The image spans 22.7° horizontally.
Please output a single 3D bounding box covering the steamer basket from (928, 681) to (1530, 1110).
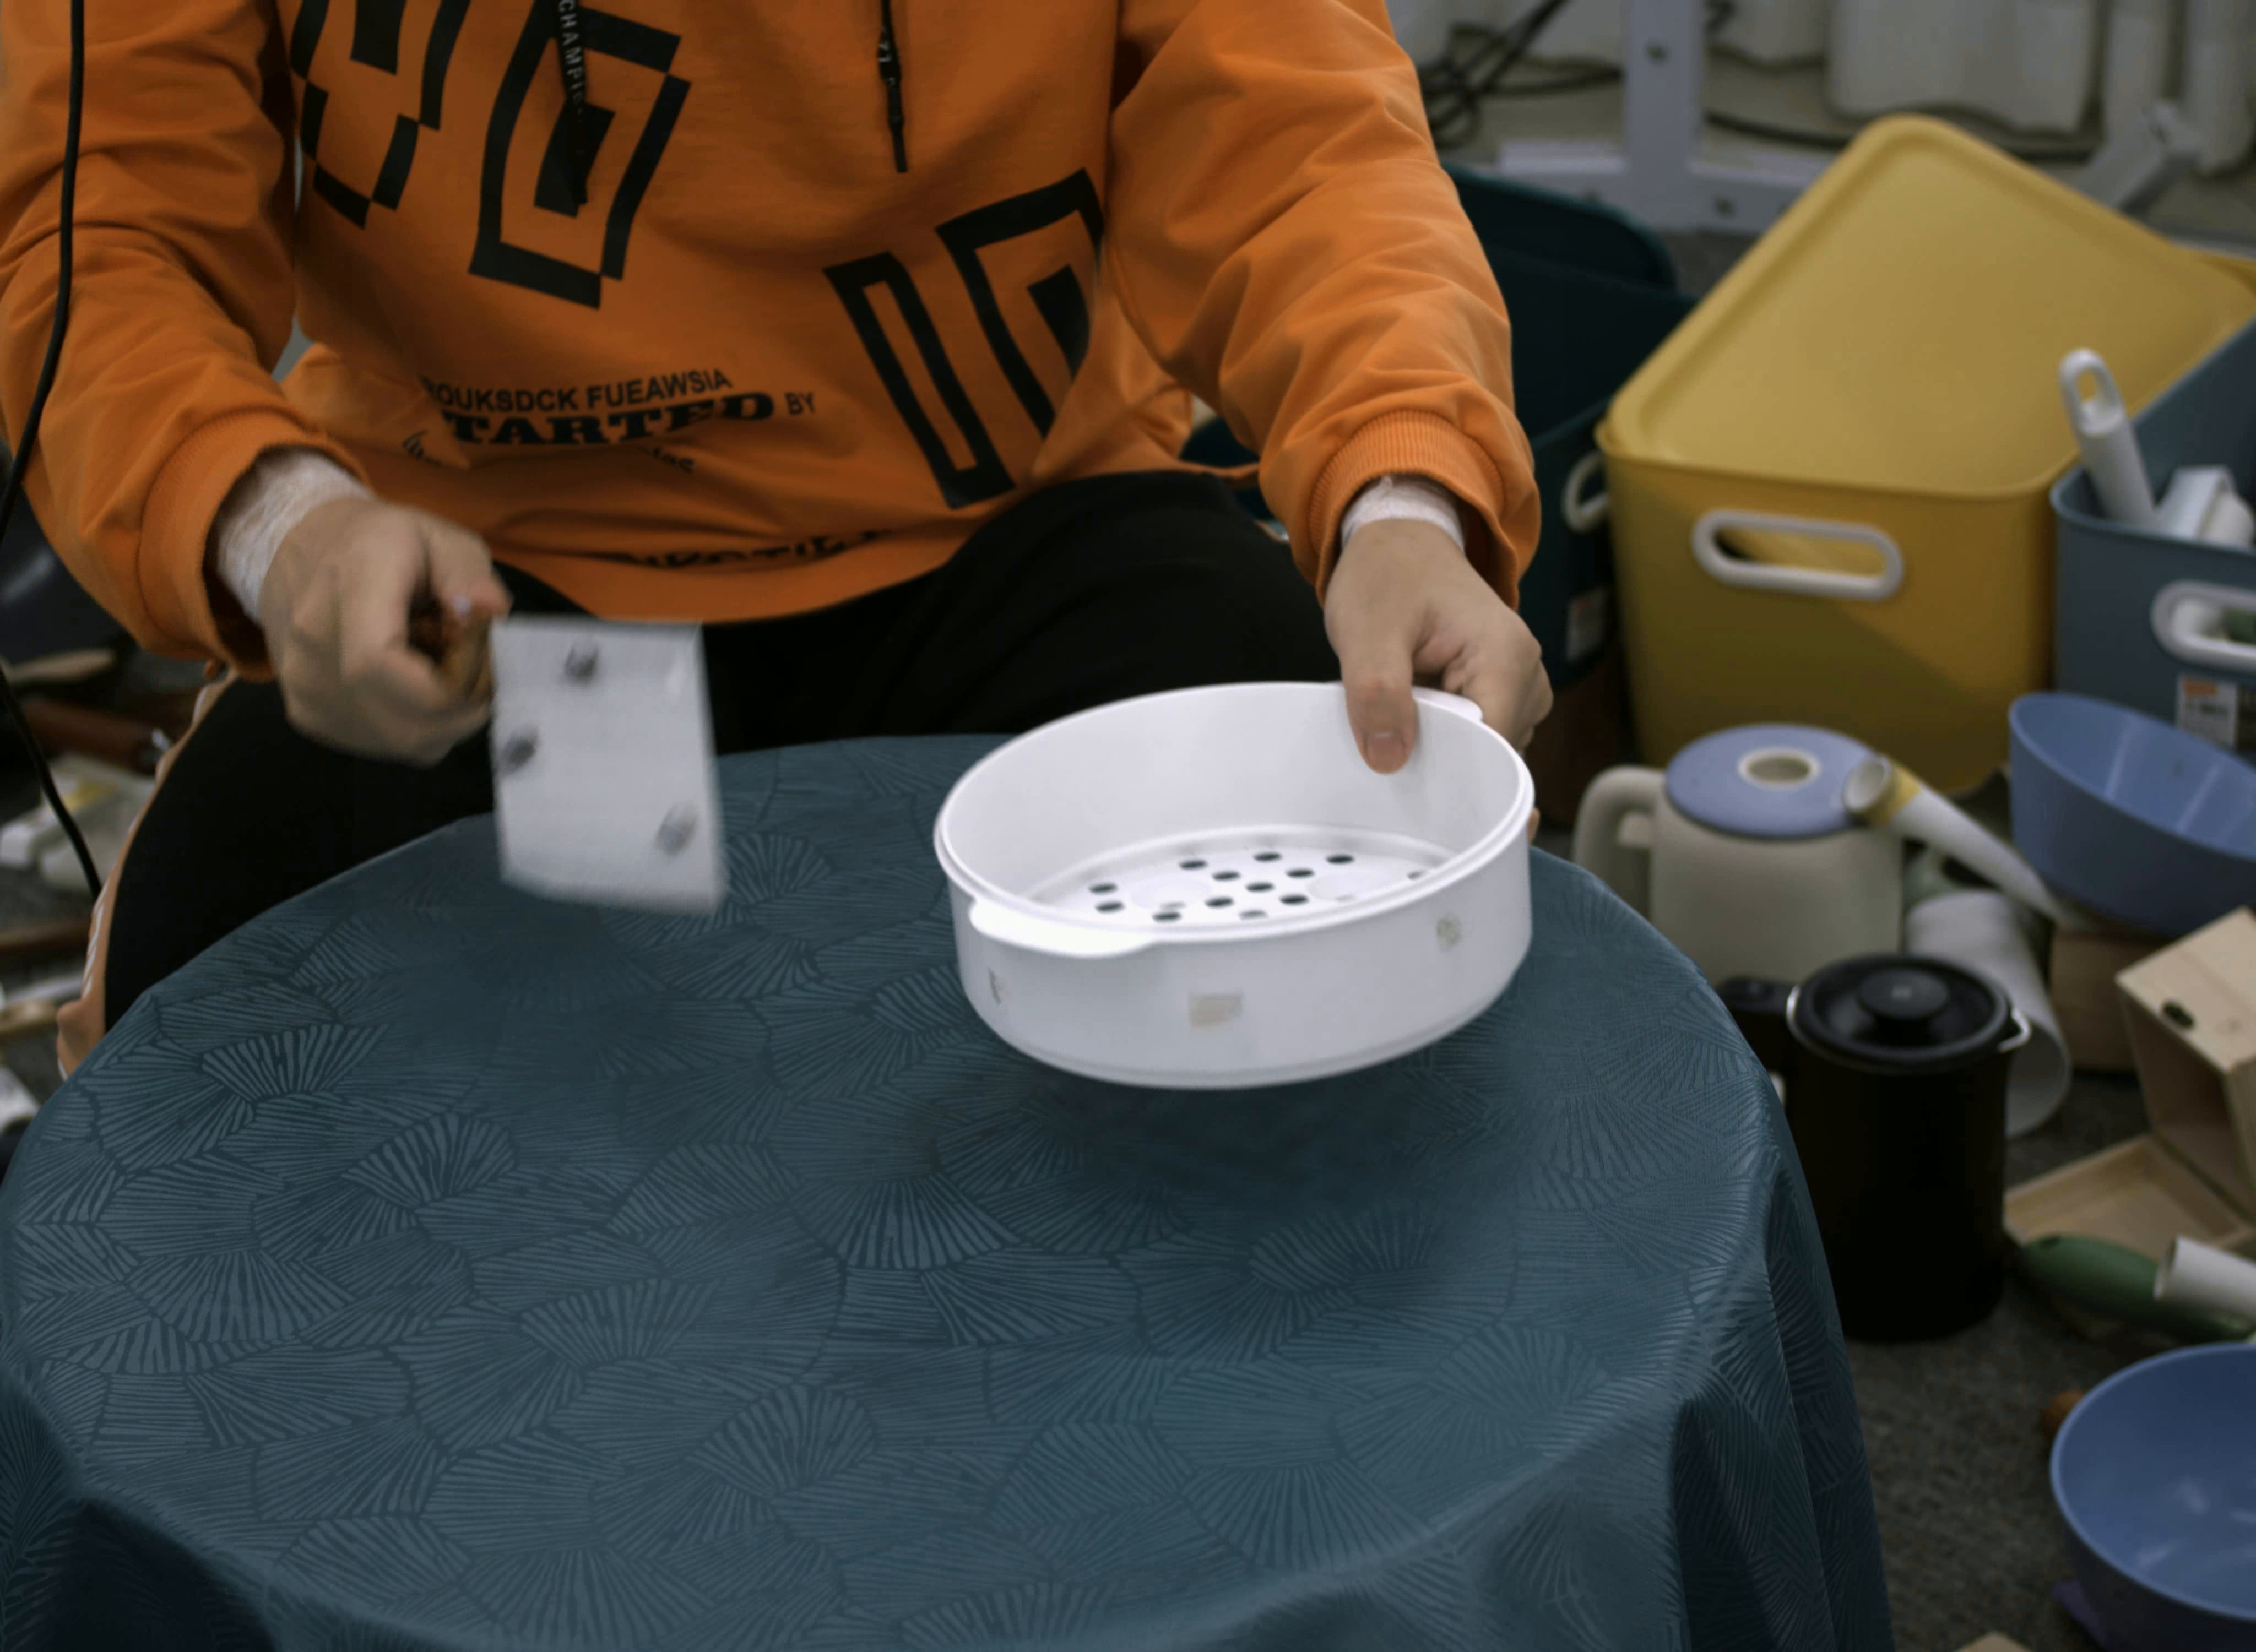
[{"bbox_3d":[0.036,0.024,1.880,0.200,0.068,0.234,11,30,34],"label":"steamer basket"}]

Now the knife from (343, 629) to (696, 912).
[{"bbox_3d":[-0.204,-0.018,1.886,0.021,0.093,0.304,-6,6,-26],"label":"knife"}]
